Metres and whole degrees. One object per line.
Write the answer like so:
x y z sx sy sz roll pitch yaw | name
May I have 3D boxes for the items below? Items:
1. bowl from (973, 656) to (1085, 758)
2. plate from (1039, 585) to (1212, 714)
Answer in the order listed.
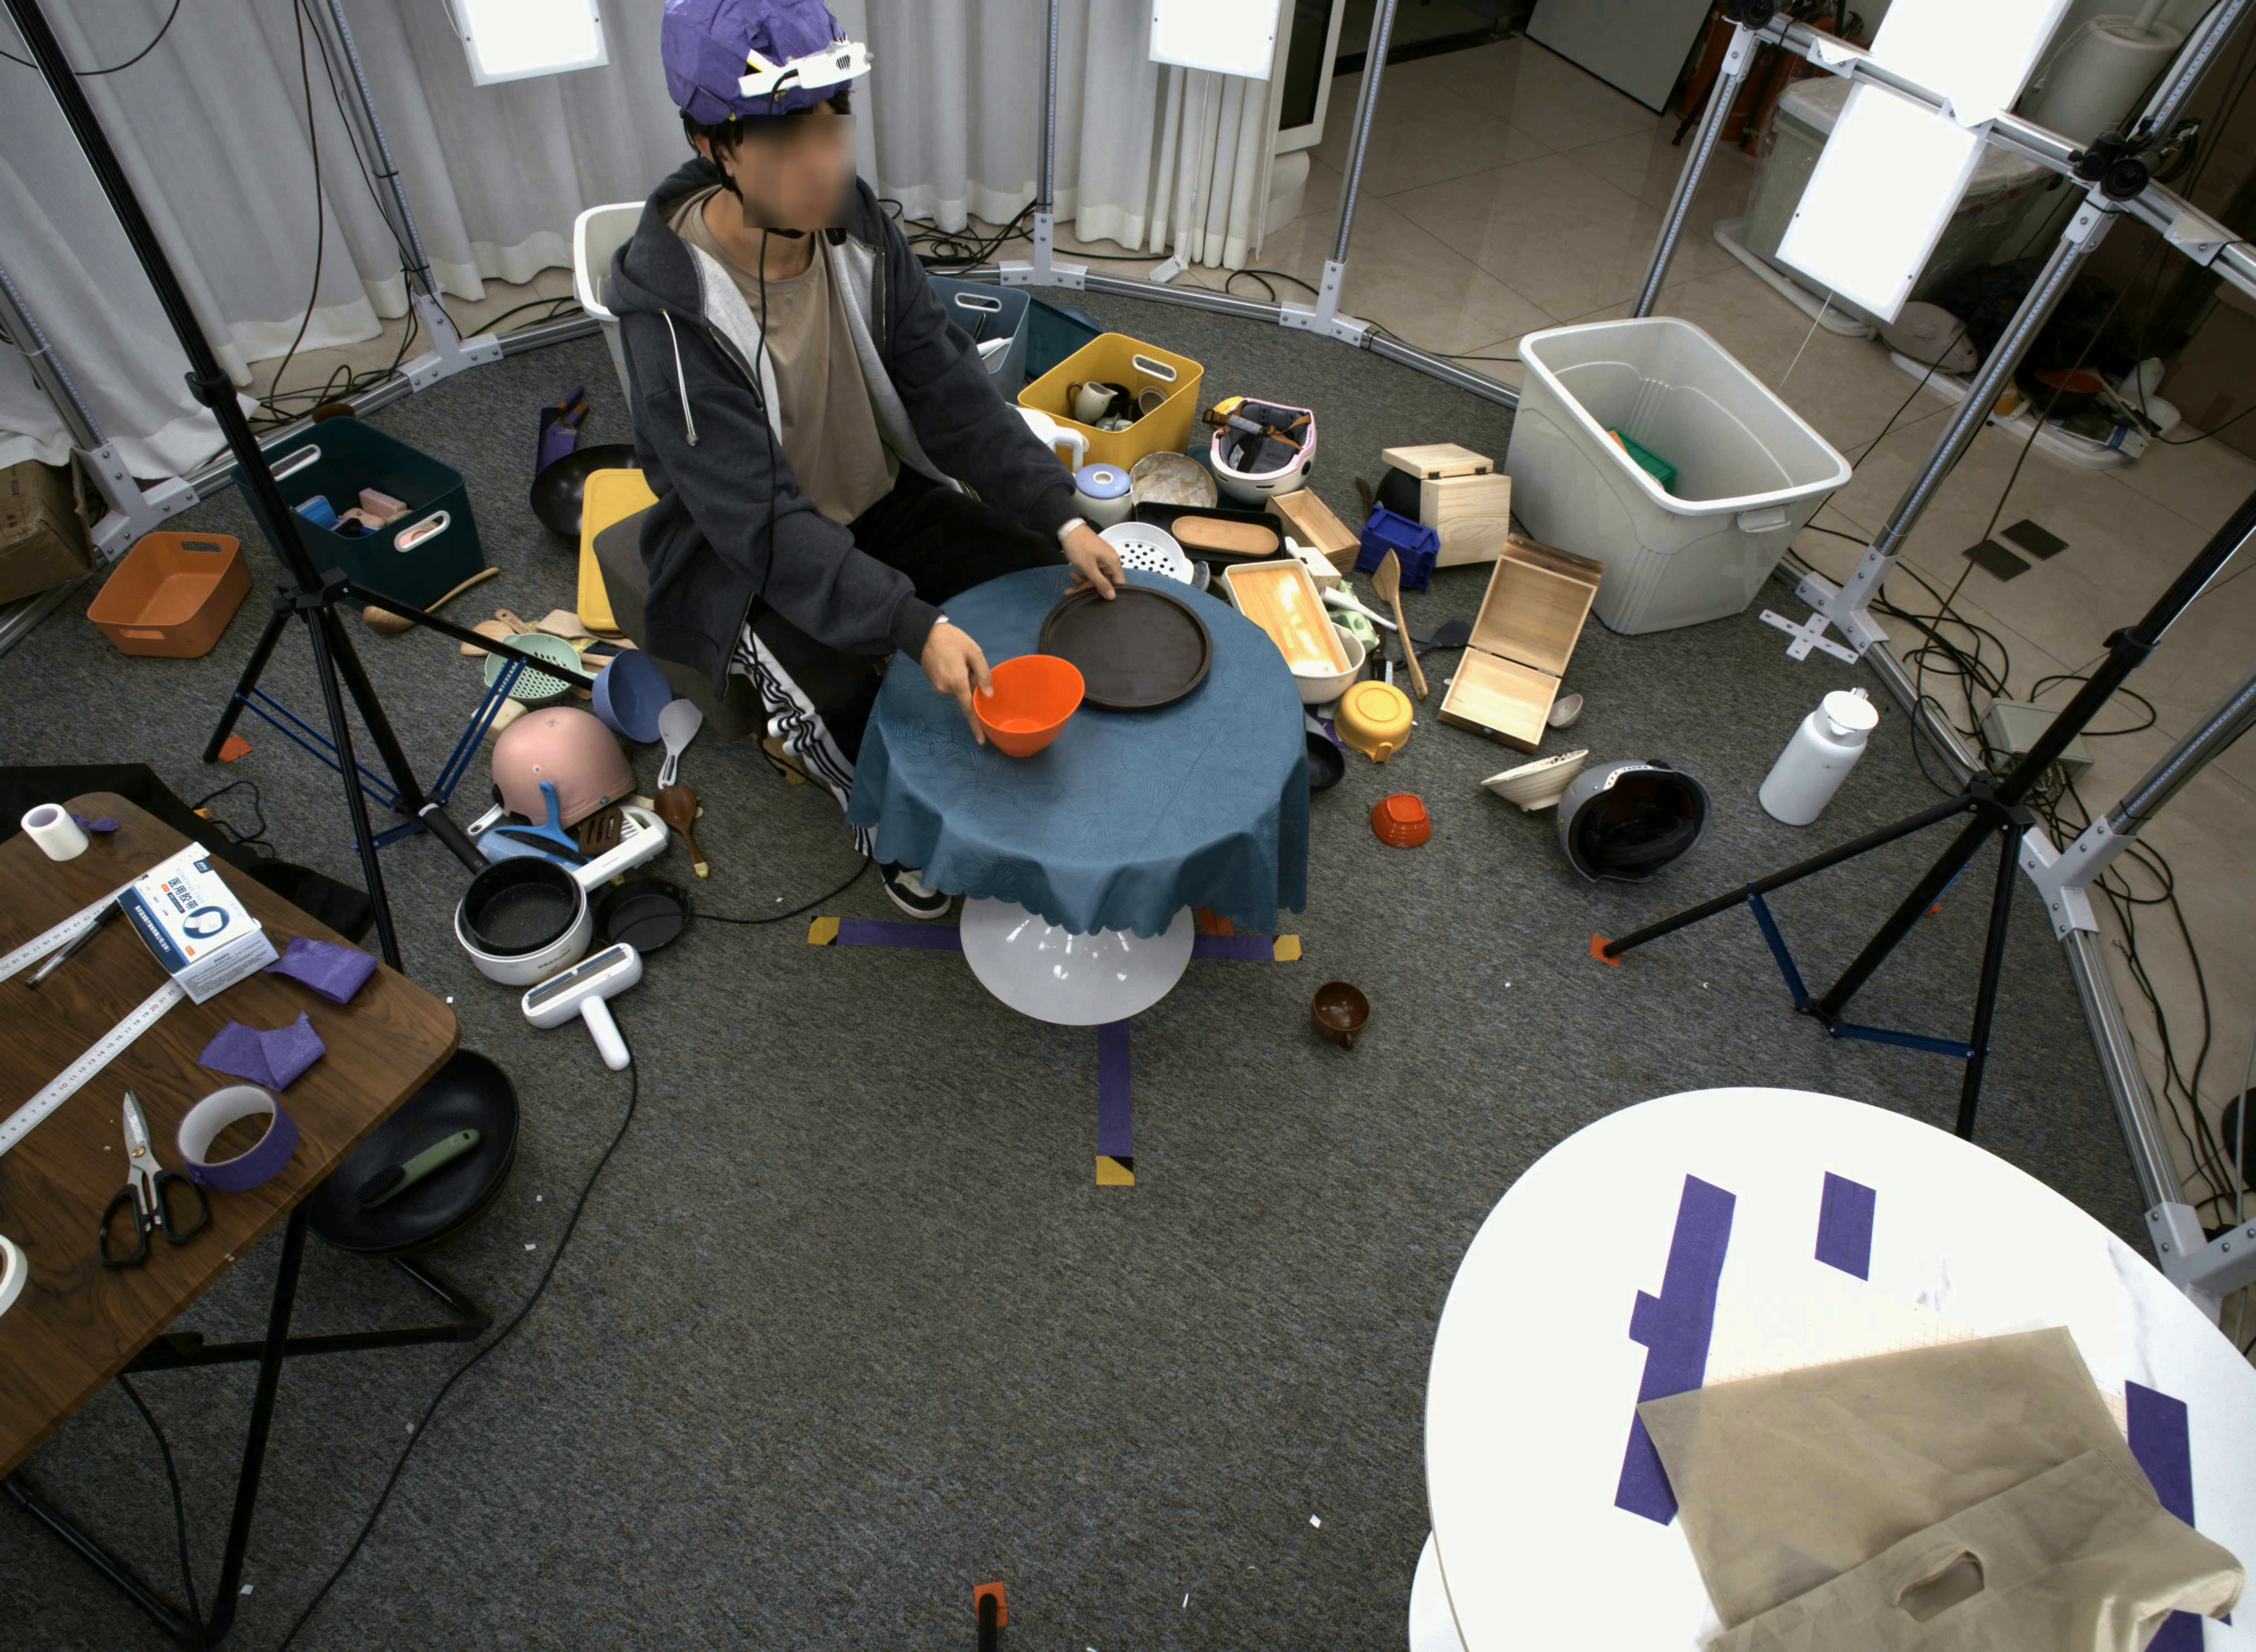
-0.133 -0.148 1.721 0.148 0.102 0.152 2 50 -2 | bowl
-0.003 -0.260 1.873 0.254 0.028 0.261 1 52 -2 | plate
